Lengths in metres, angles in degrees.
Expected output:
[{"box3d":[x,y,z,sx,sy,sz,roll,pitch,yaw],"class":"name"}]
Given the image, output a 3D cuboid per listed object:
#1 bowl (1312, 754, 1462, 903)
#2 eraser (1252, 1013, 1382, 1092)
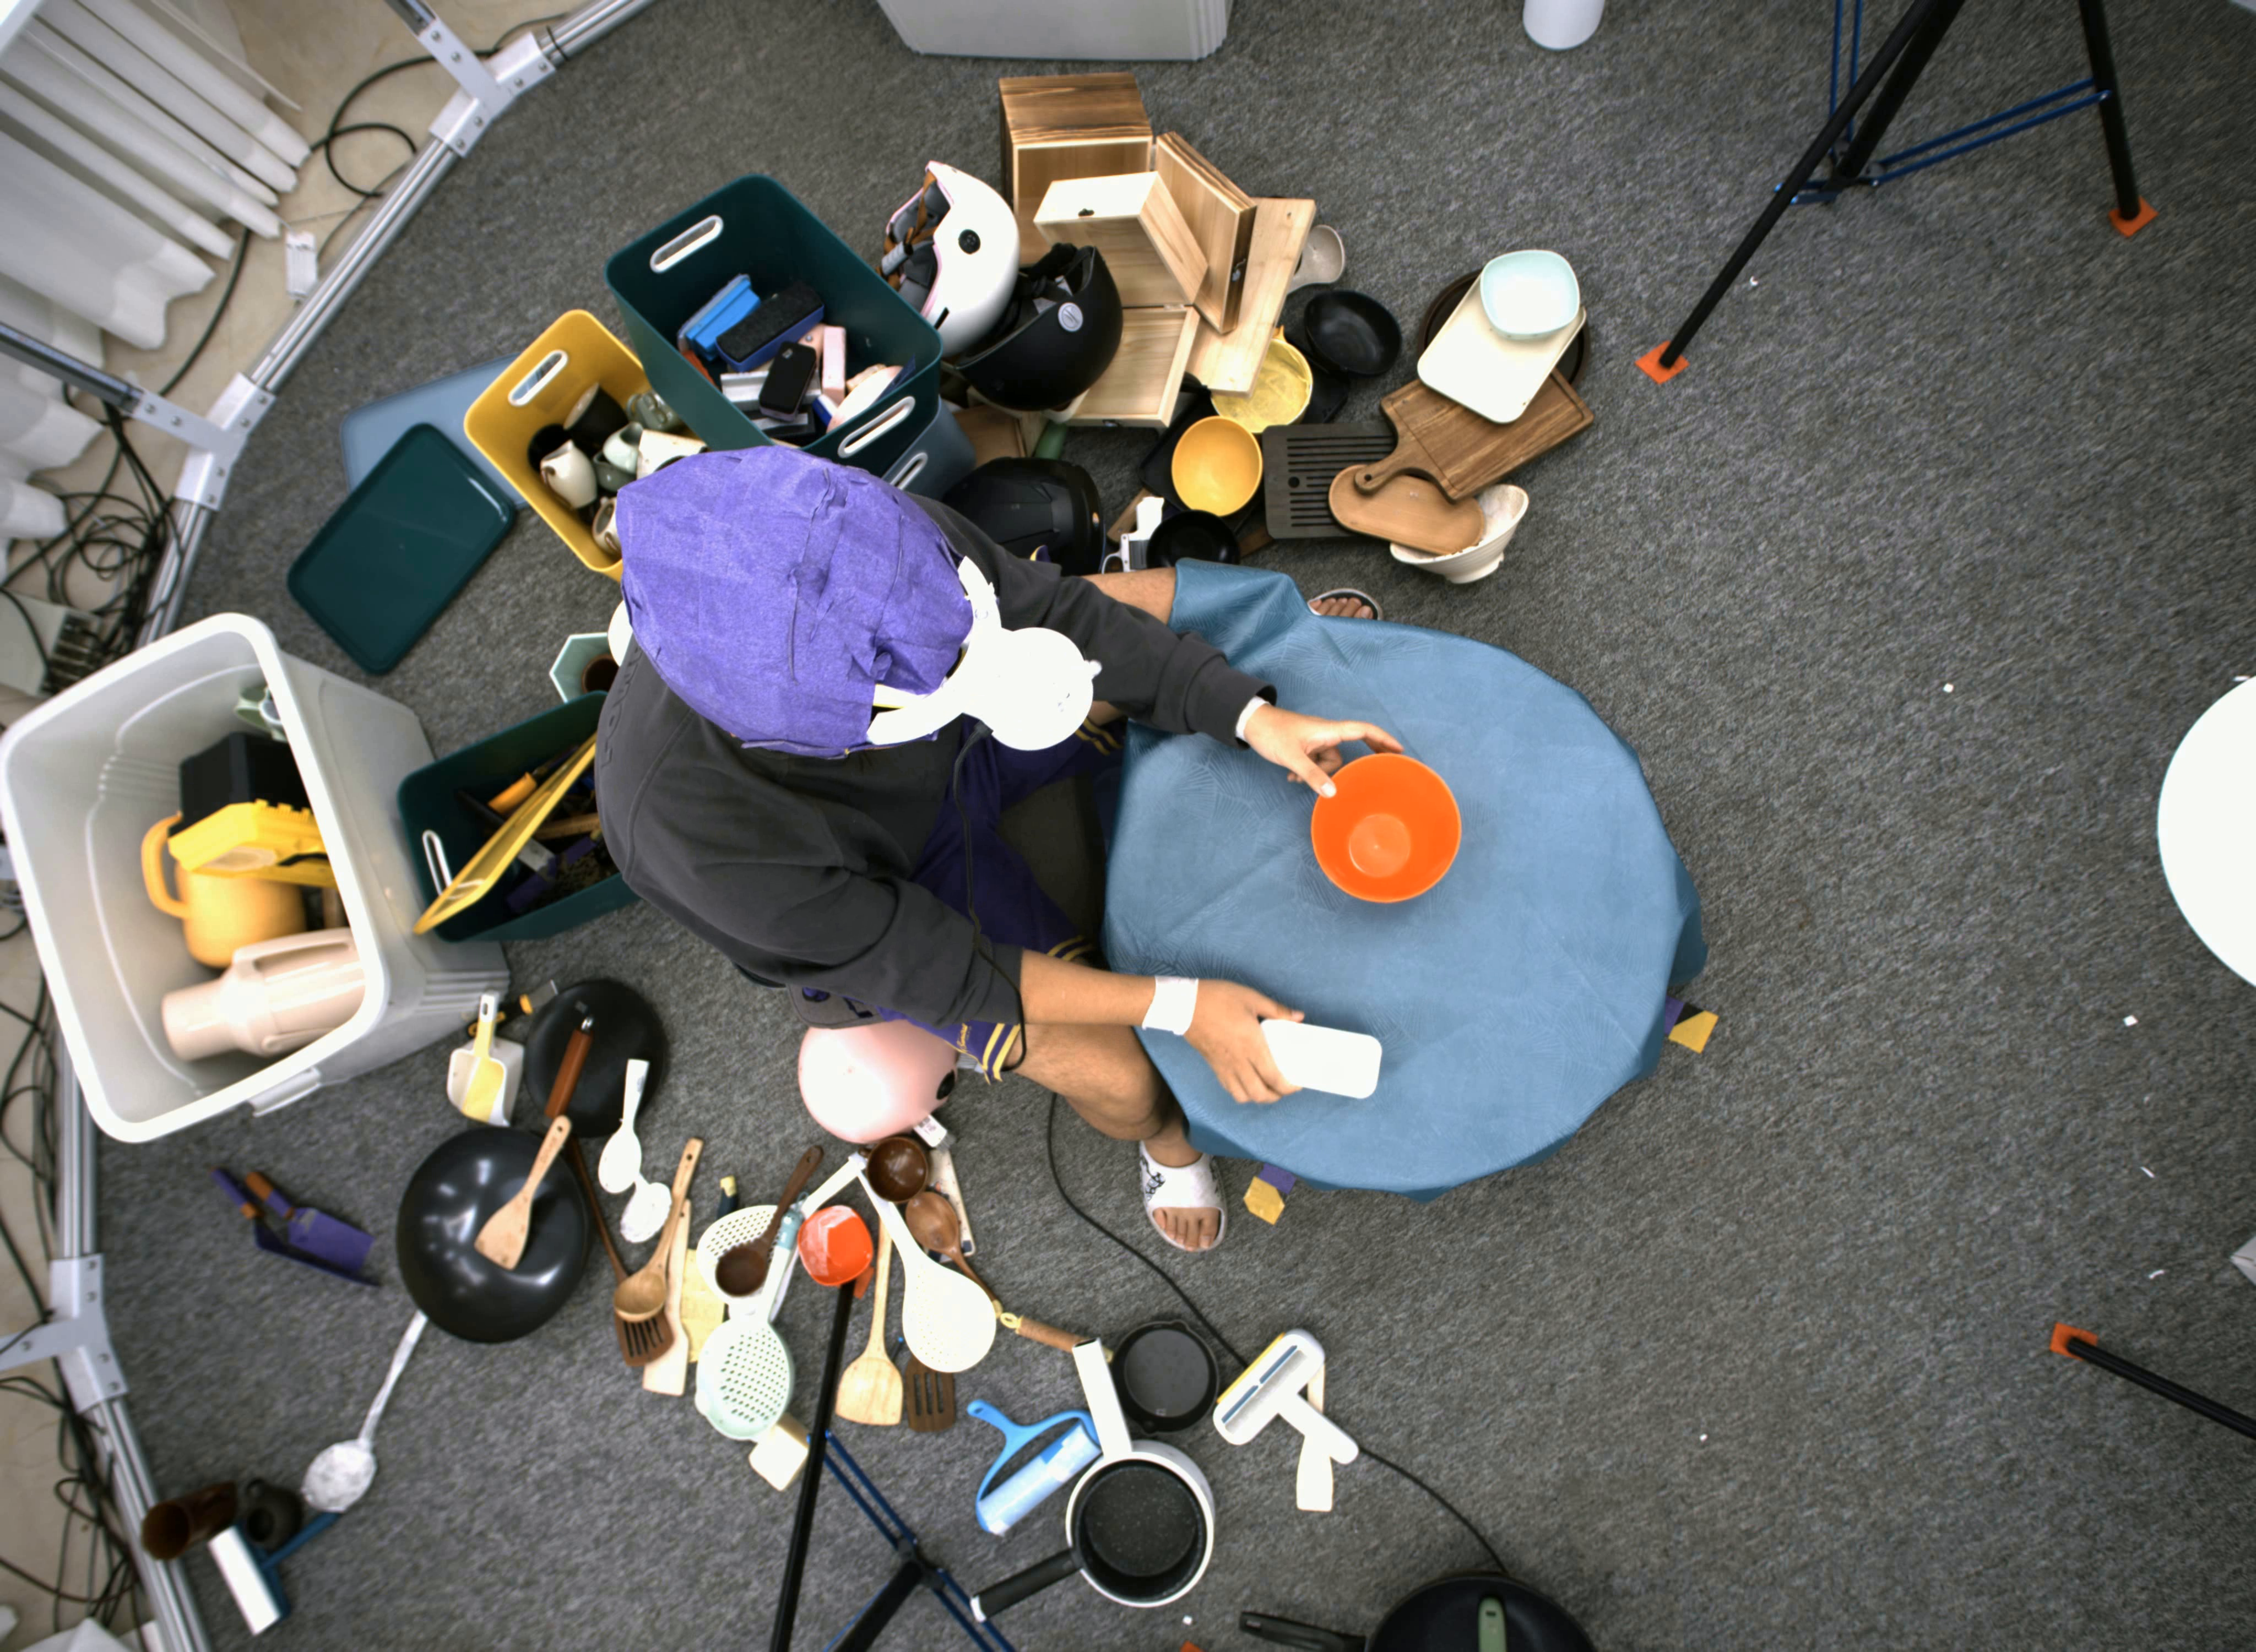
[{"box3d":[0.264,0.006,1.414,0.148,0.104,0.147,-1,87,10],"class":"bowl"},{"box3d":[0.194,0.229,1.420,0.131,0.034,0.063,10,88,21],"class":"eraser"}]
